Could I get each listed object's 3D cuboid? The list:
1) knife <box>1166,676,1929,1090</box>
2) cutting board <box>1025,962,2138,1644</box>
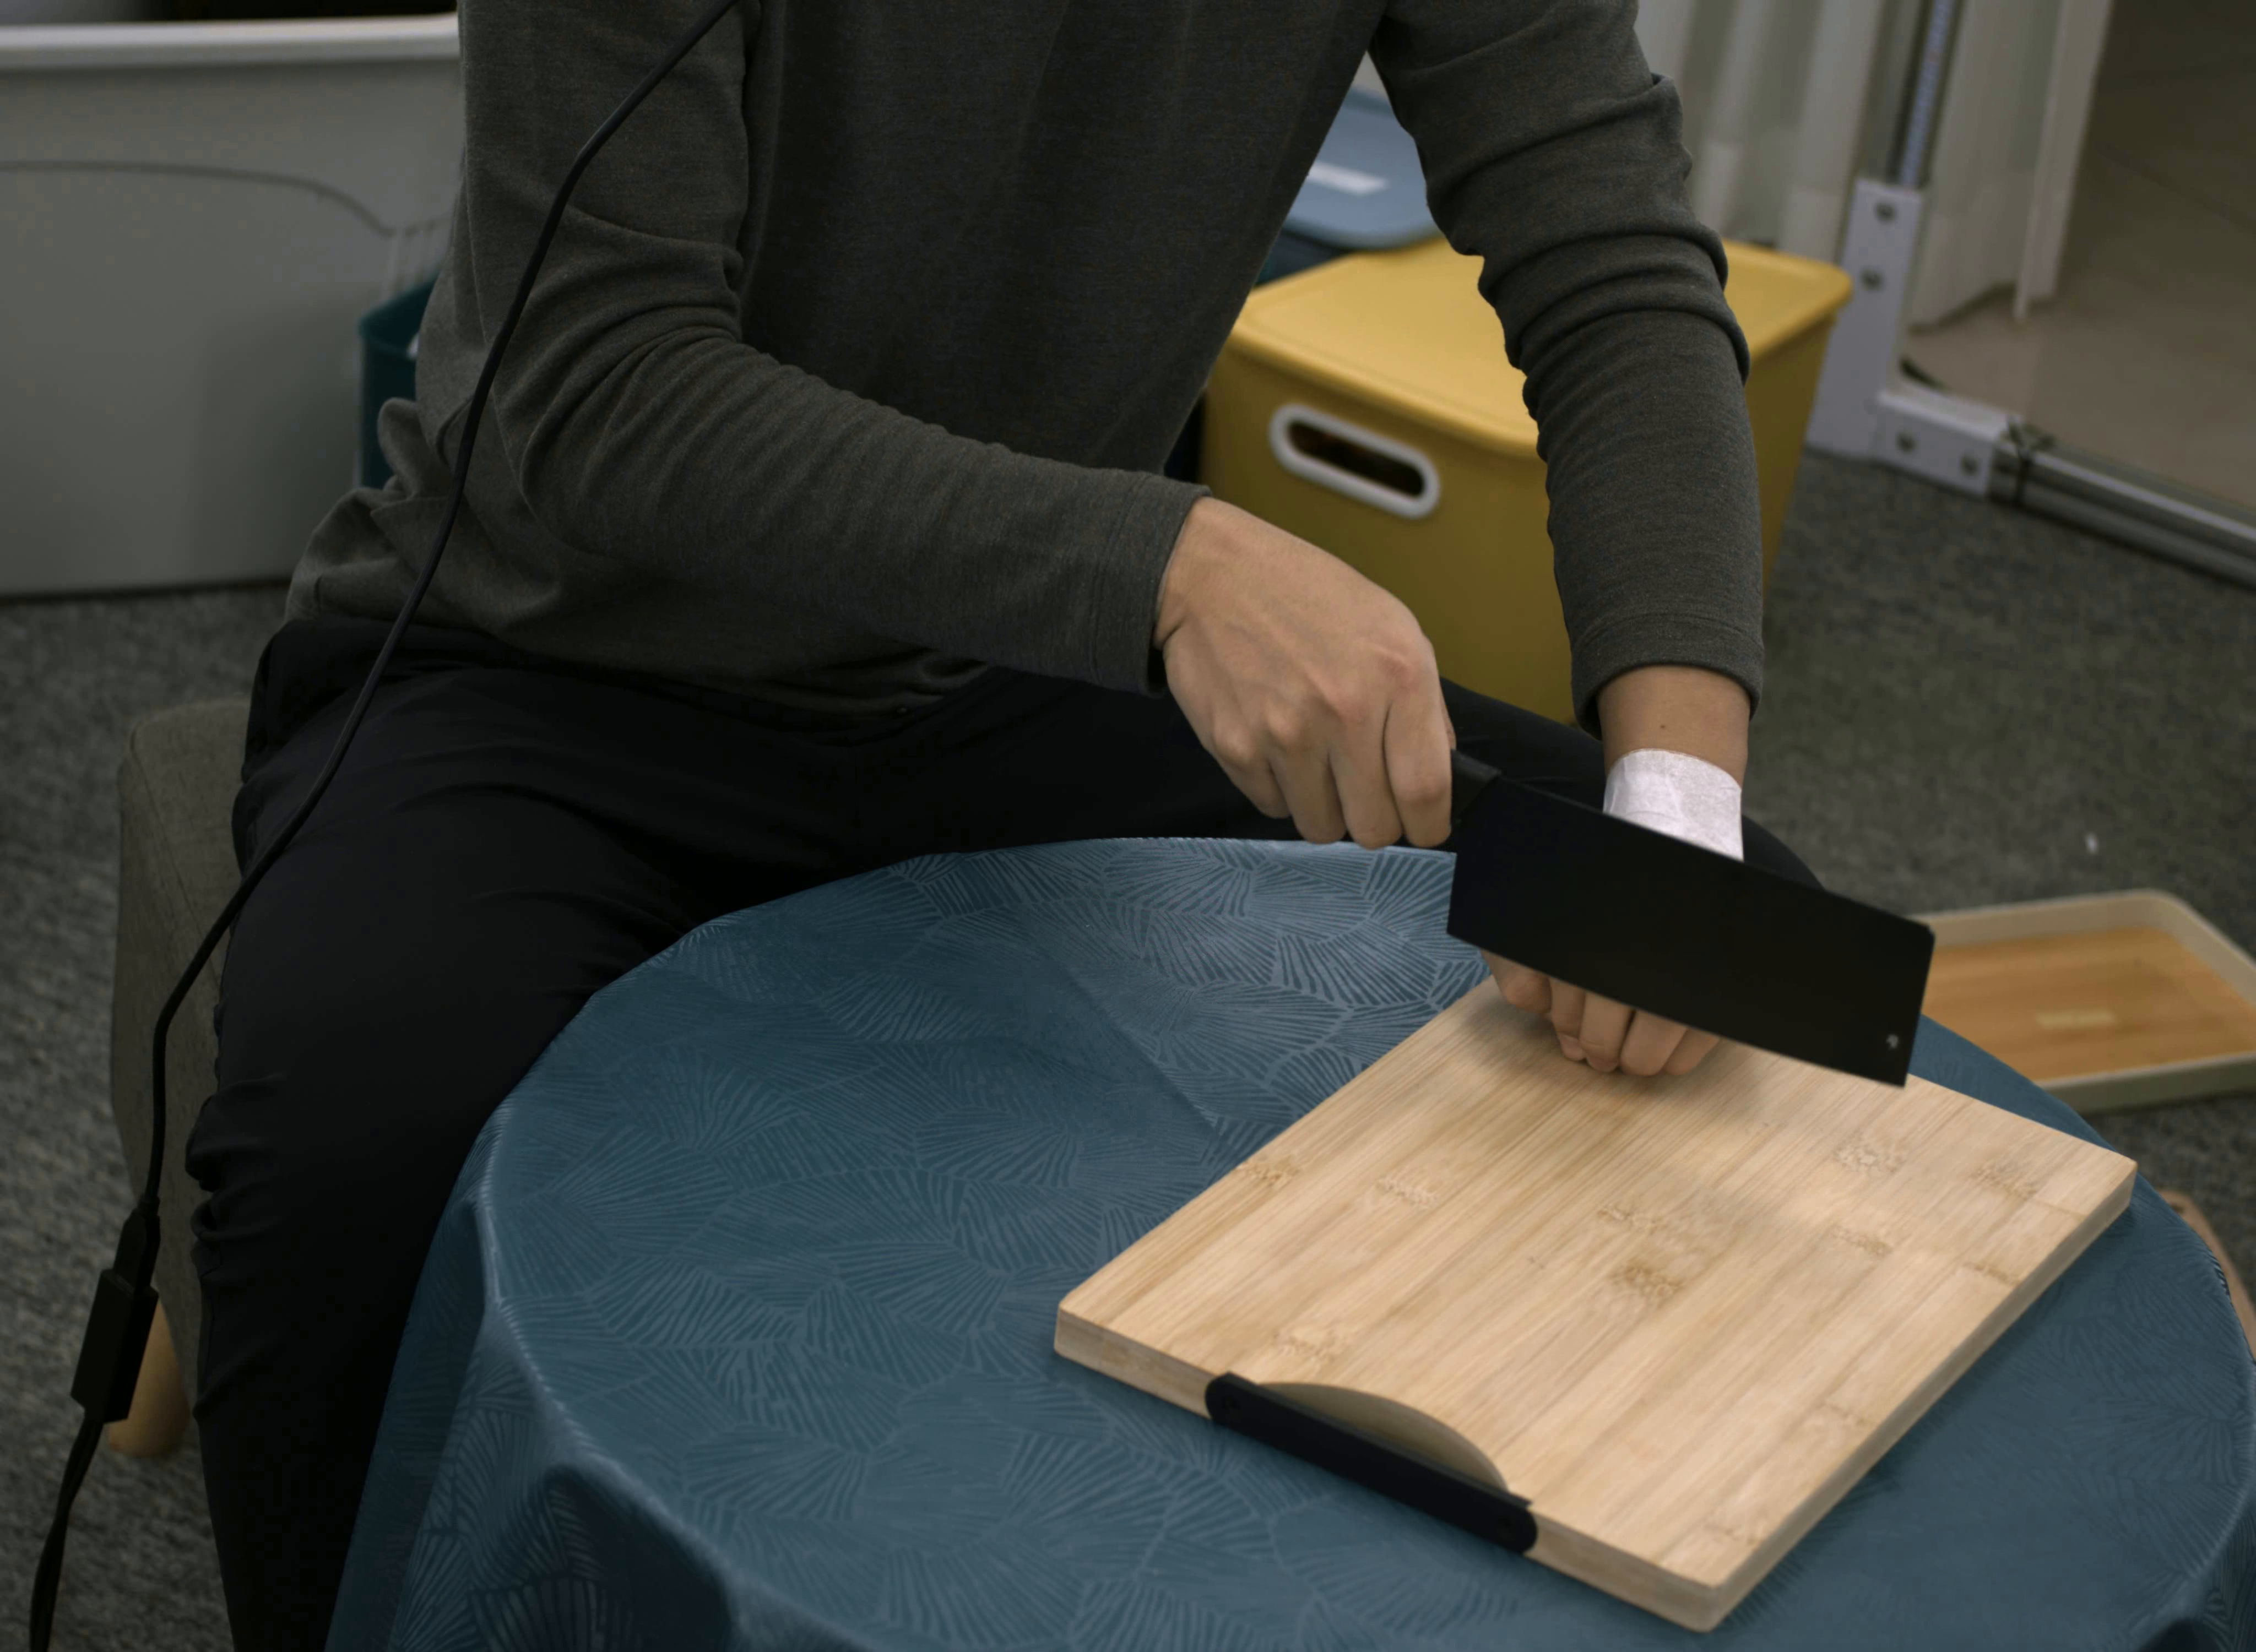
[{"bbox_3d":[0.141,0.015,1.847,0.304,0.081,0.021,25,27,27],"label":"knife"},{"bbox_3d":[0.161,0.145,1.782,0.252,0.023,0.348,20,29,26],"label":"cutting board"}]
